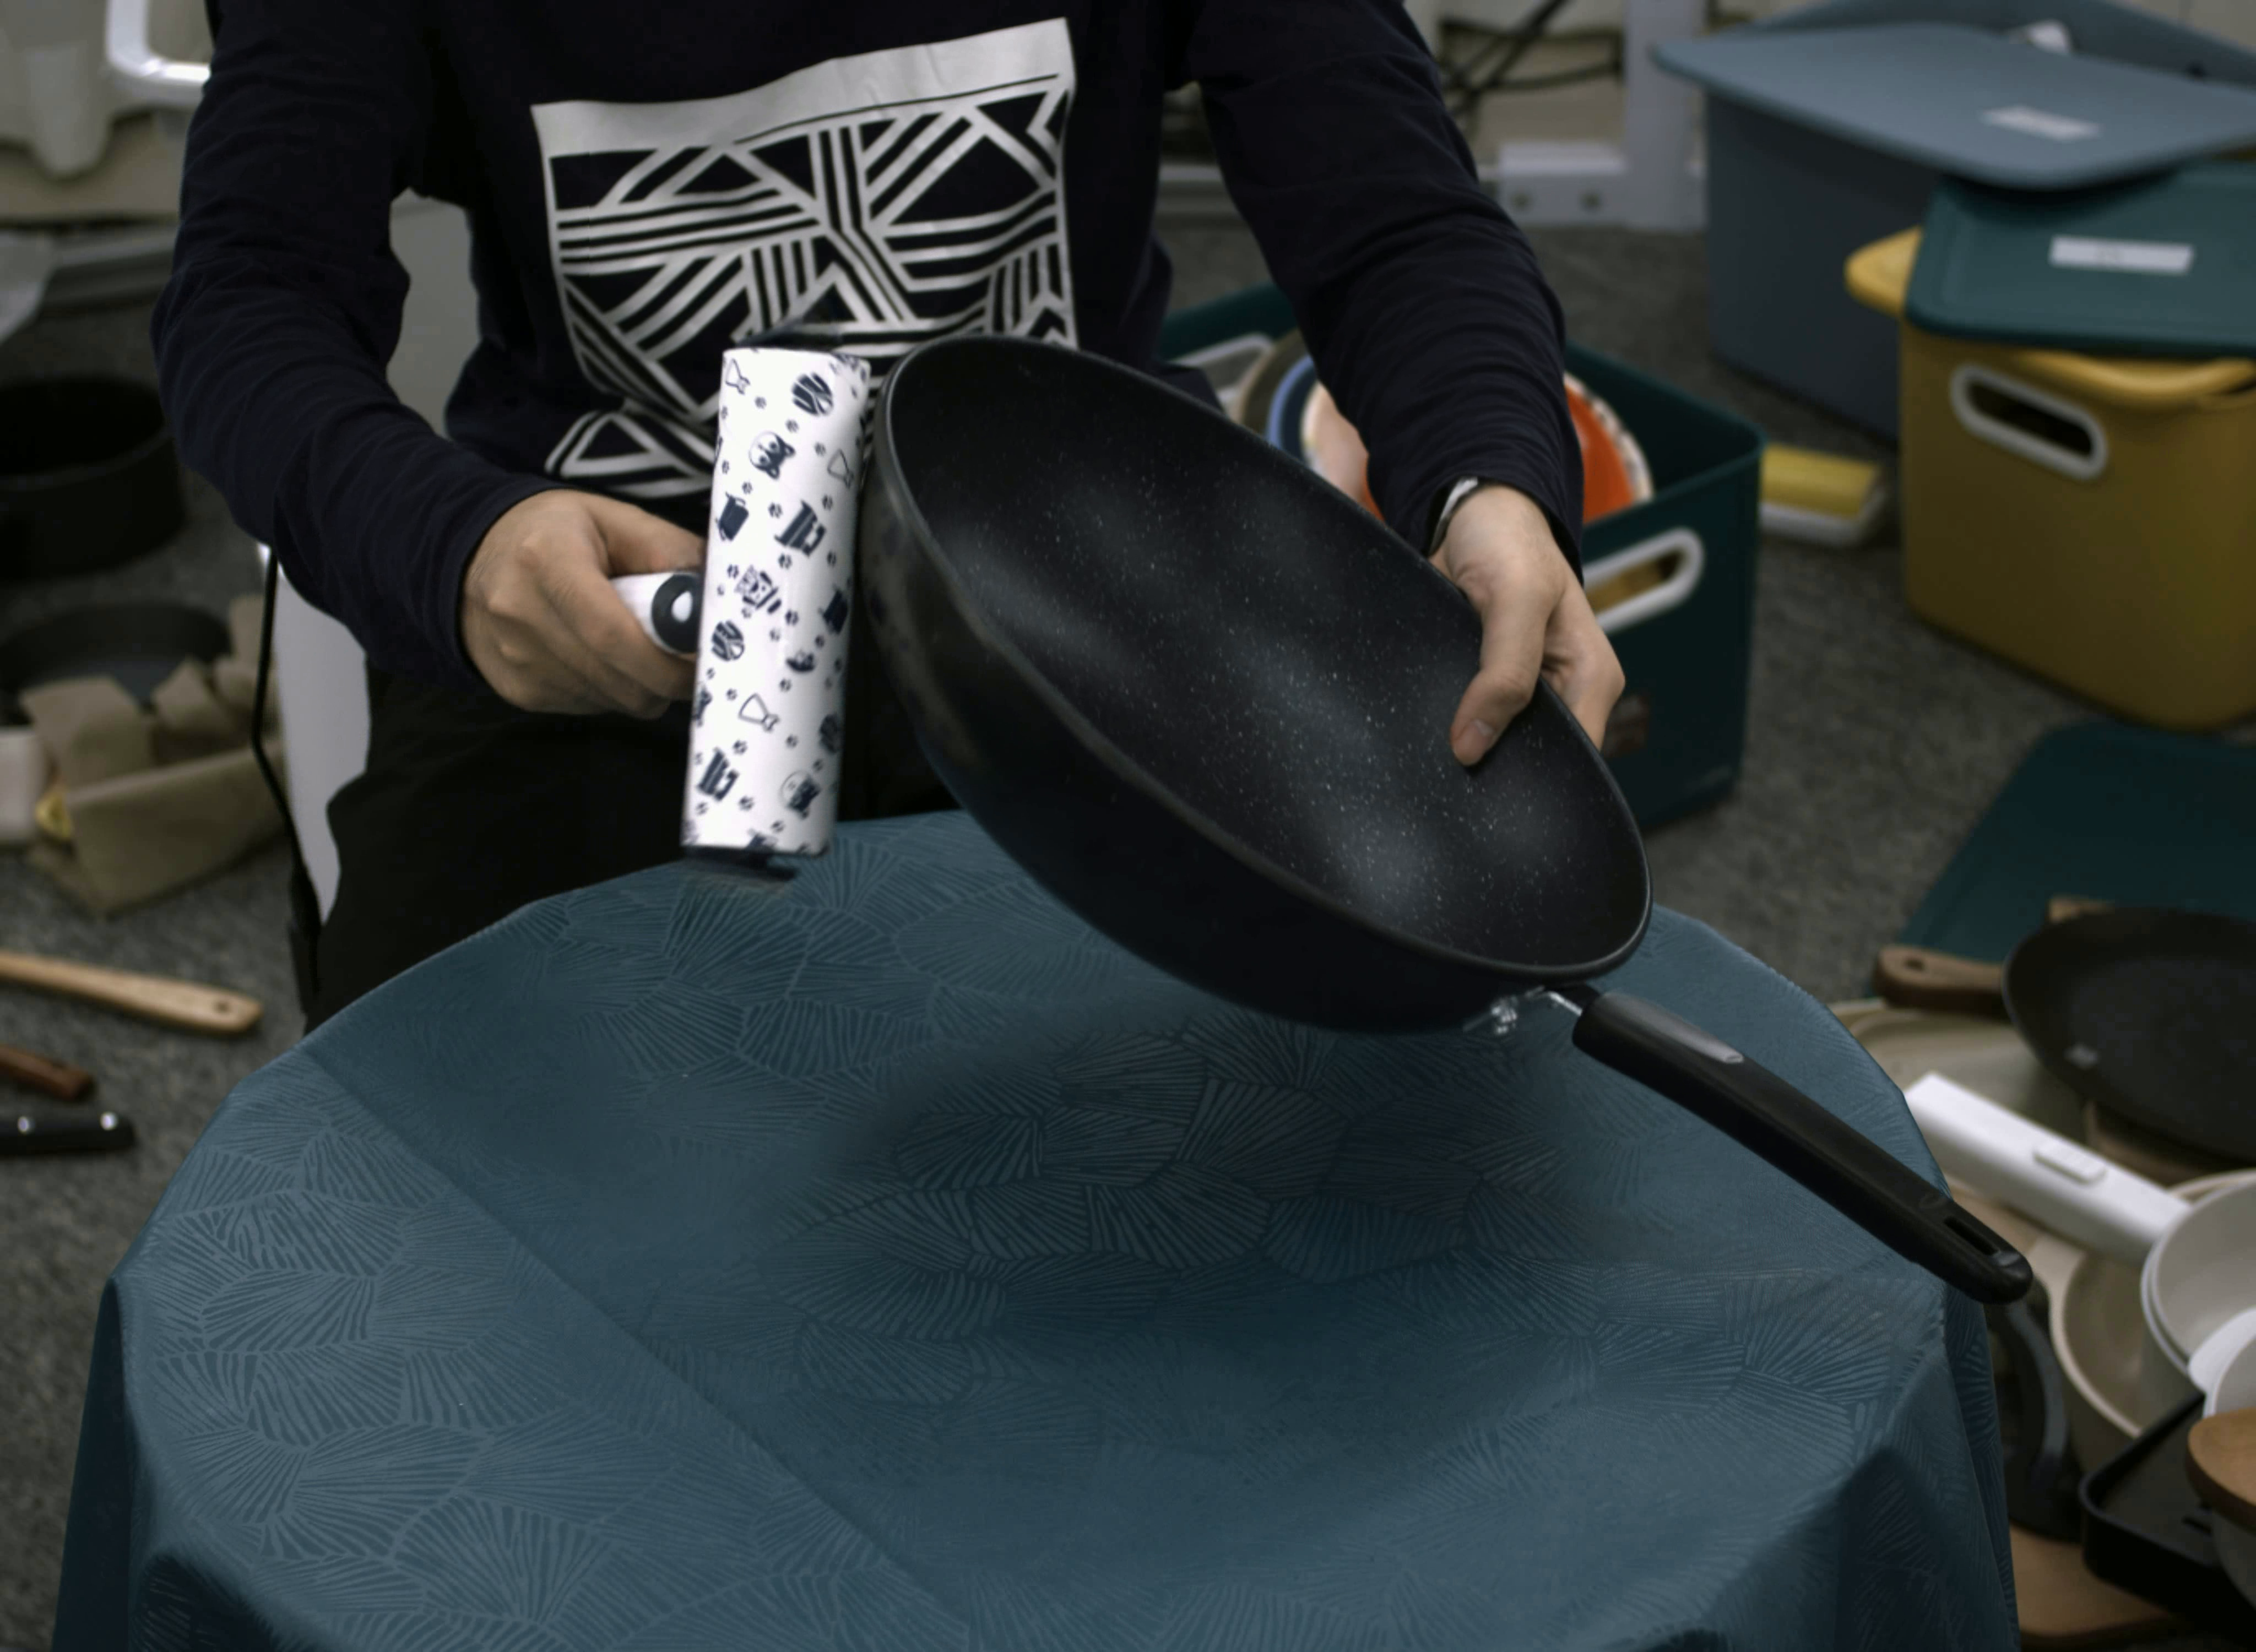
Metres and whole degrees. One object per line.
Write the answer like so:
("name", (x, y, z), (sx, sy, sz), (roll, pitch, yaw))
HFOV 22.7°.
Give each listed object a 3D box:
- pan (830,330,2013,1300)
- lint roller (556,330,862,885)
("pan", (0.081, 0.017, 1.822), (0.479, 0.110, 0.313), (45, 26, 18))
("lint roller", (-0.155, -0.068, 1.891), (0.050, 0.177, 0.245), (9, -5, -23))
